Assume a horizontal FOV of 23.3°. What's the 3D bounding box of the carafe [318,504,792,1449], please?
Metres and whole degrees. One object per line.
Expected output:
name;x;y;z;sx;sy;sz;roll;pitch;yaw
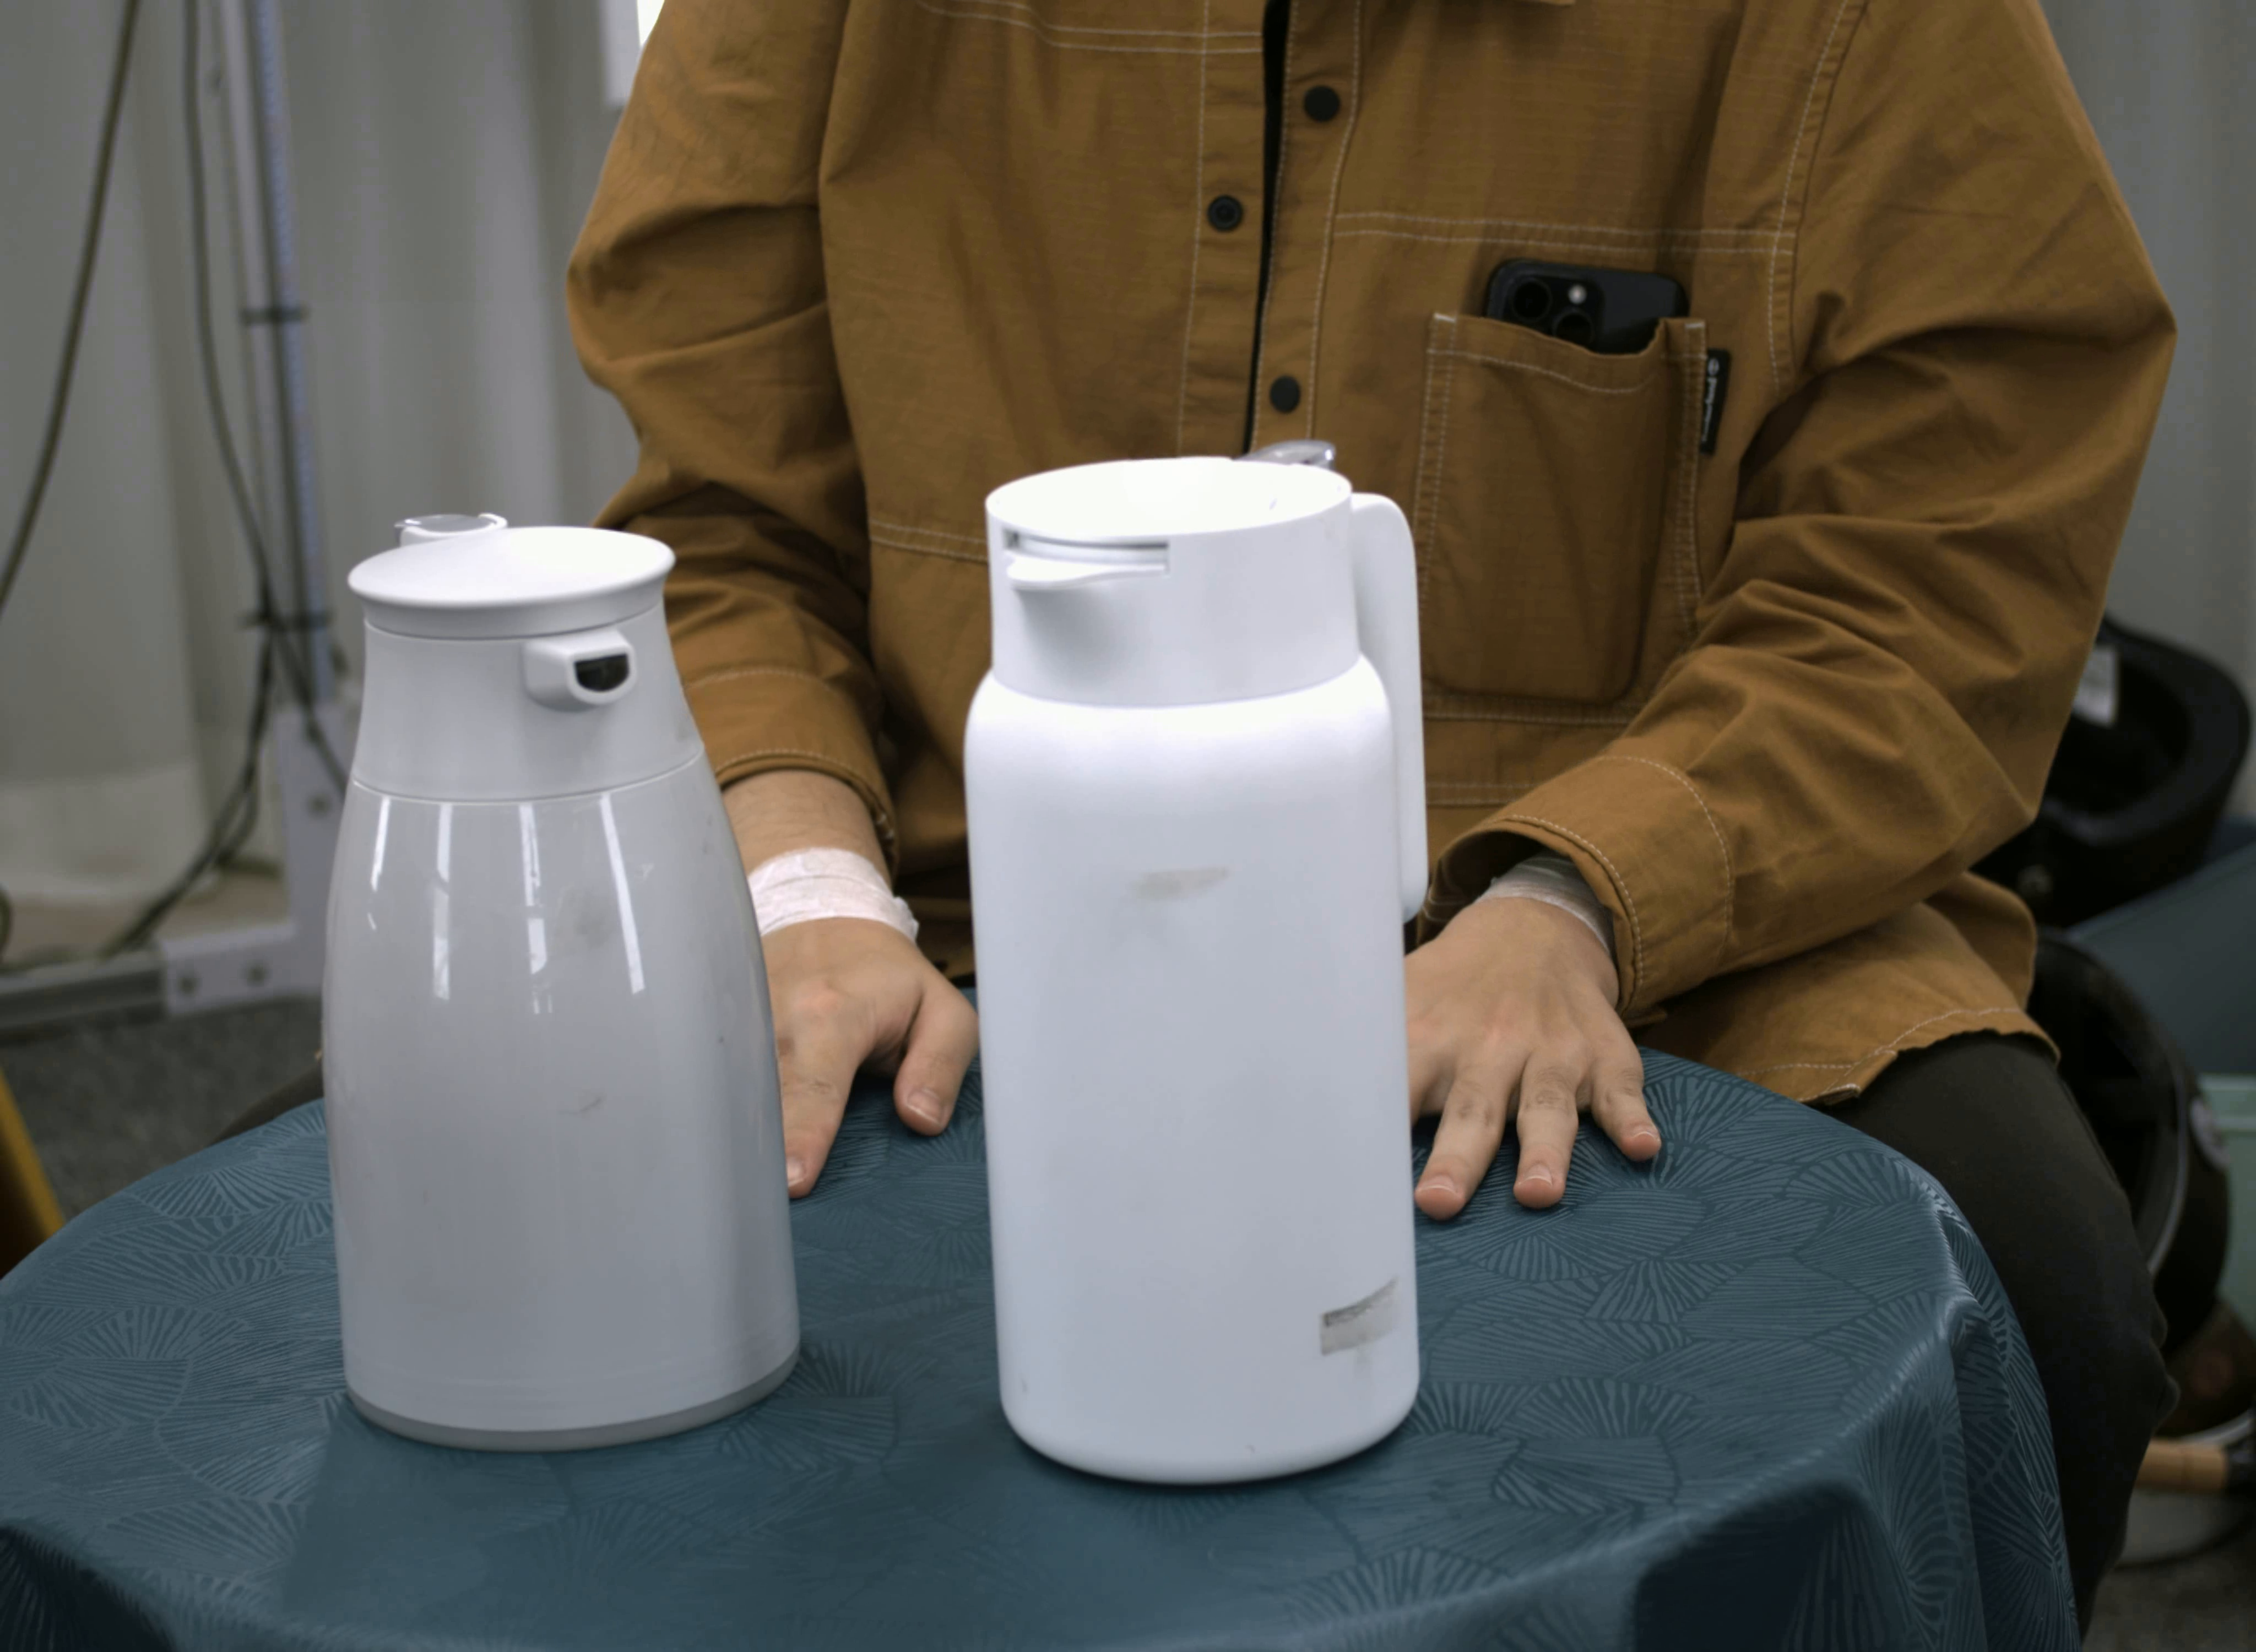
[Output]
carafe;-0.177;0.034;1.570;0.132;0.248;0.169;-10;14;-28

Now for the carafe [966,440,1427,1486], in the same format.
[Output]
carafe;0.026;0.033;1.502;0.124;0.268;0.173;4;15;33
